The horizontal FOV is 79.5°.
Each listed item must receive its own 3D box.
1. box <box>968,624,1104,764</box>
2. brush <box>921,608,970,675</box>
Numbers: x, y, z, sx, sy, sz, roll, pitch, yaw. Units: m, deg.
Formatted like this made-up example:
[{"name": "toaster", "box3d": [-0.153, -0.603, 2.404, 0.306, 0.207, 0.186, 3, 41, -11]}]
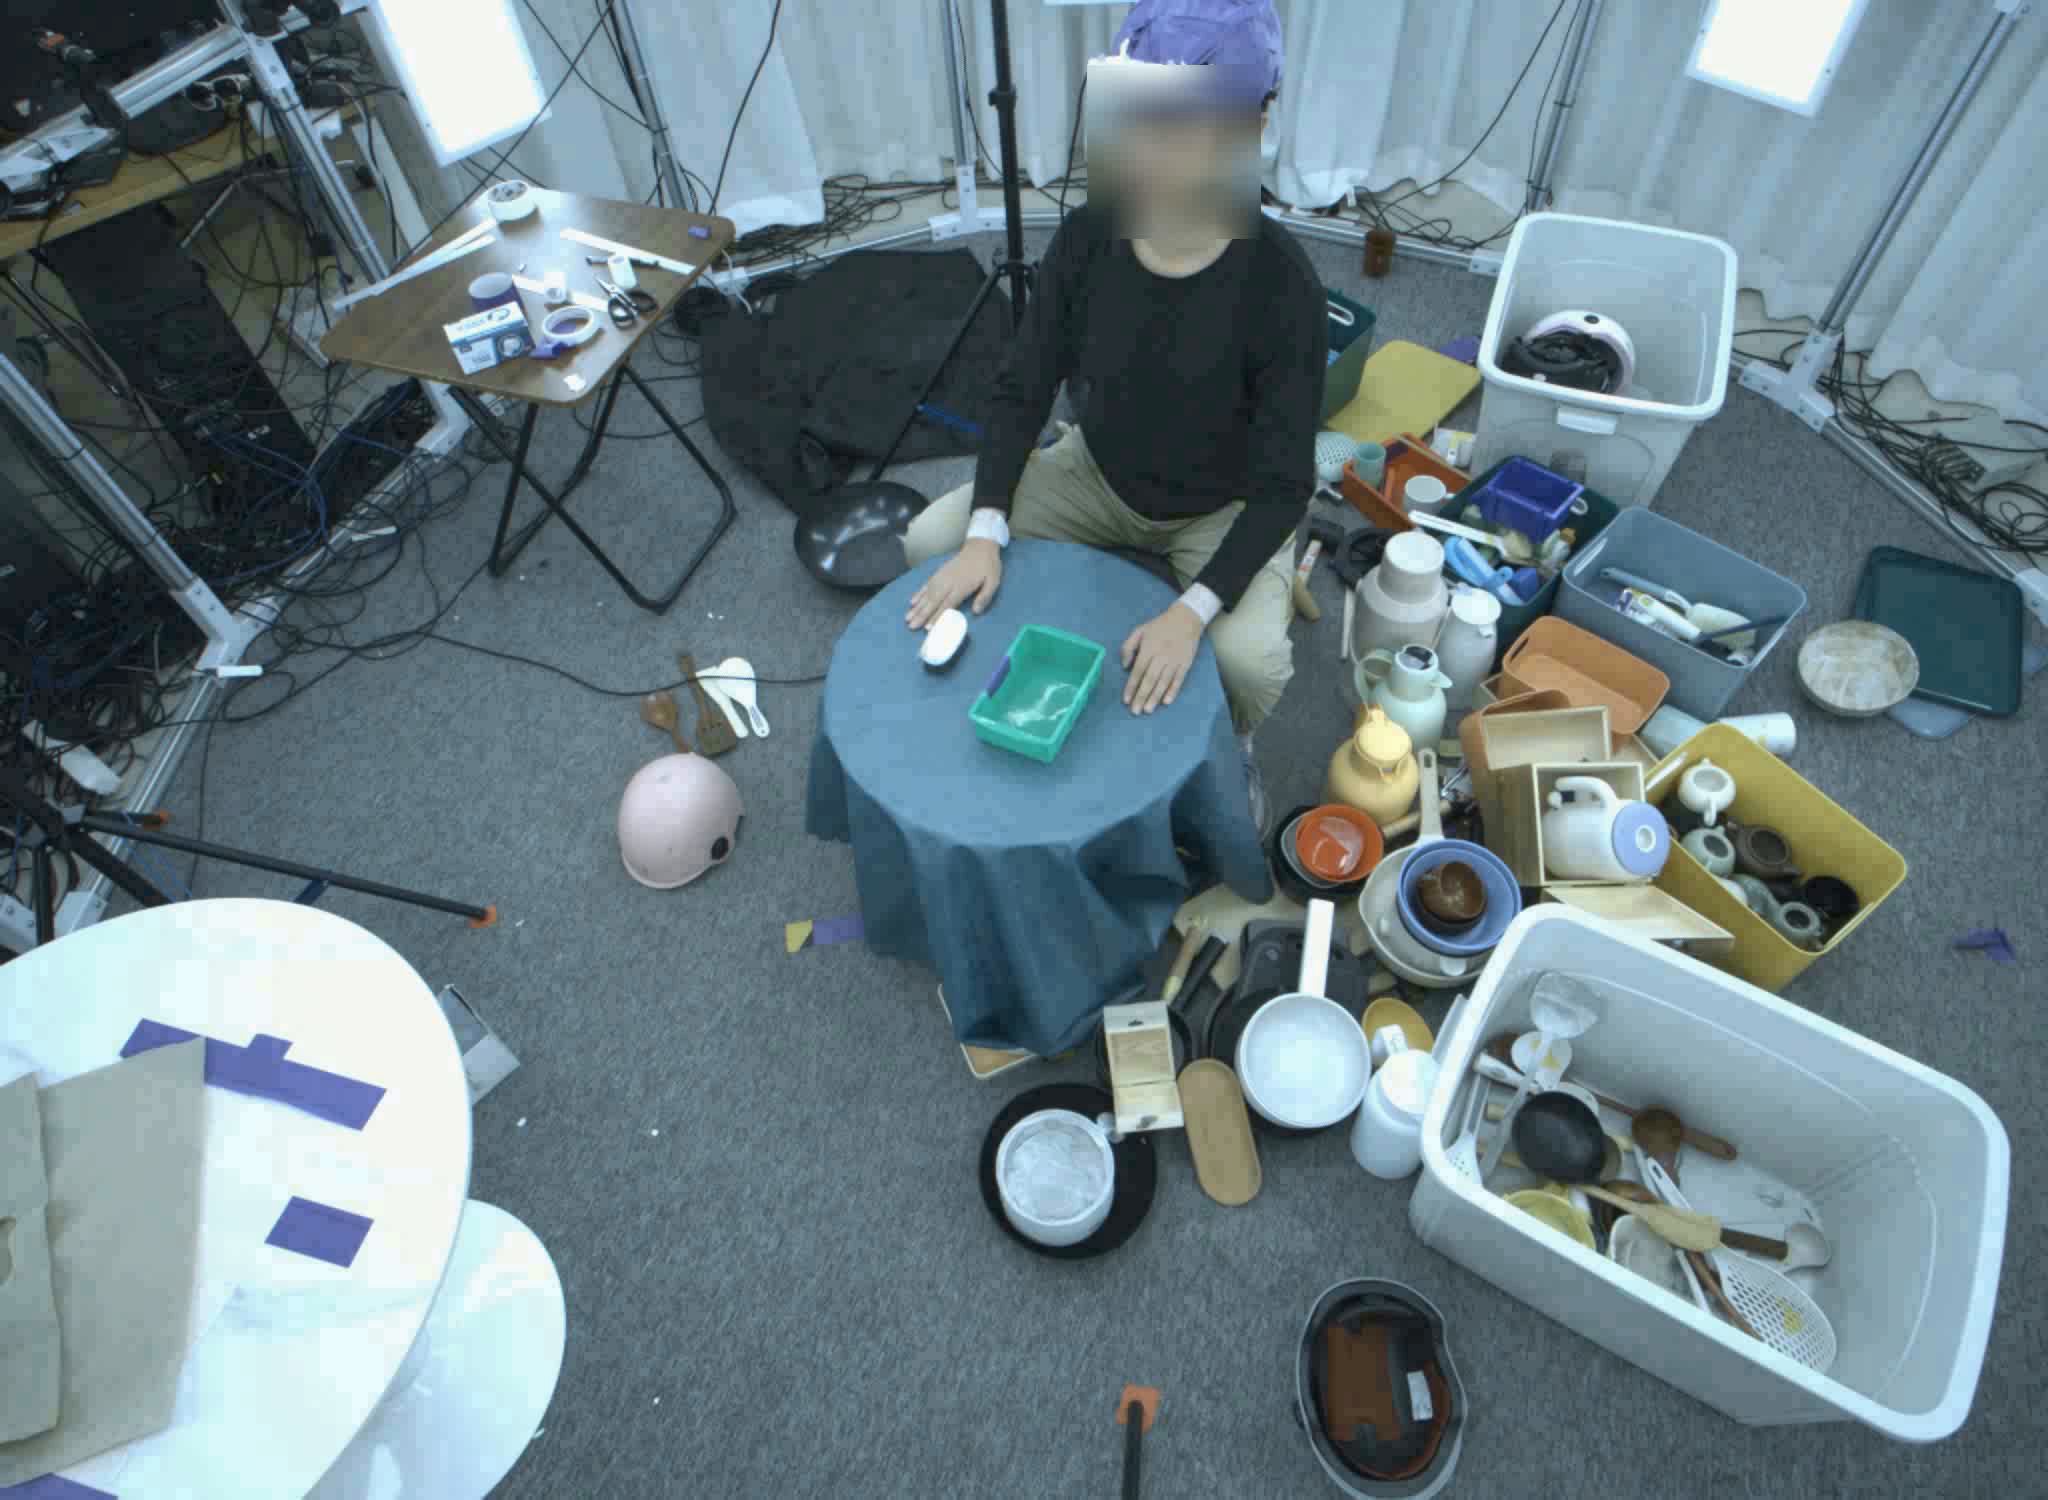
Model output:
[{"name": "box", "box3d": [0.021, -0.080, 1.805, 0.137, 0.066, 0.210, 18, 59, 17]}, {"name": "brush", "box3d": [-0.122, -0.173, 1.869, 0.049, 0.073, 0.099, 22, 59, 18]}]
